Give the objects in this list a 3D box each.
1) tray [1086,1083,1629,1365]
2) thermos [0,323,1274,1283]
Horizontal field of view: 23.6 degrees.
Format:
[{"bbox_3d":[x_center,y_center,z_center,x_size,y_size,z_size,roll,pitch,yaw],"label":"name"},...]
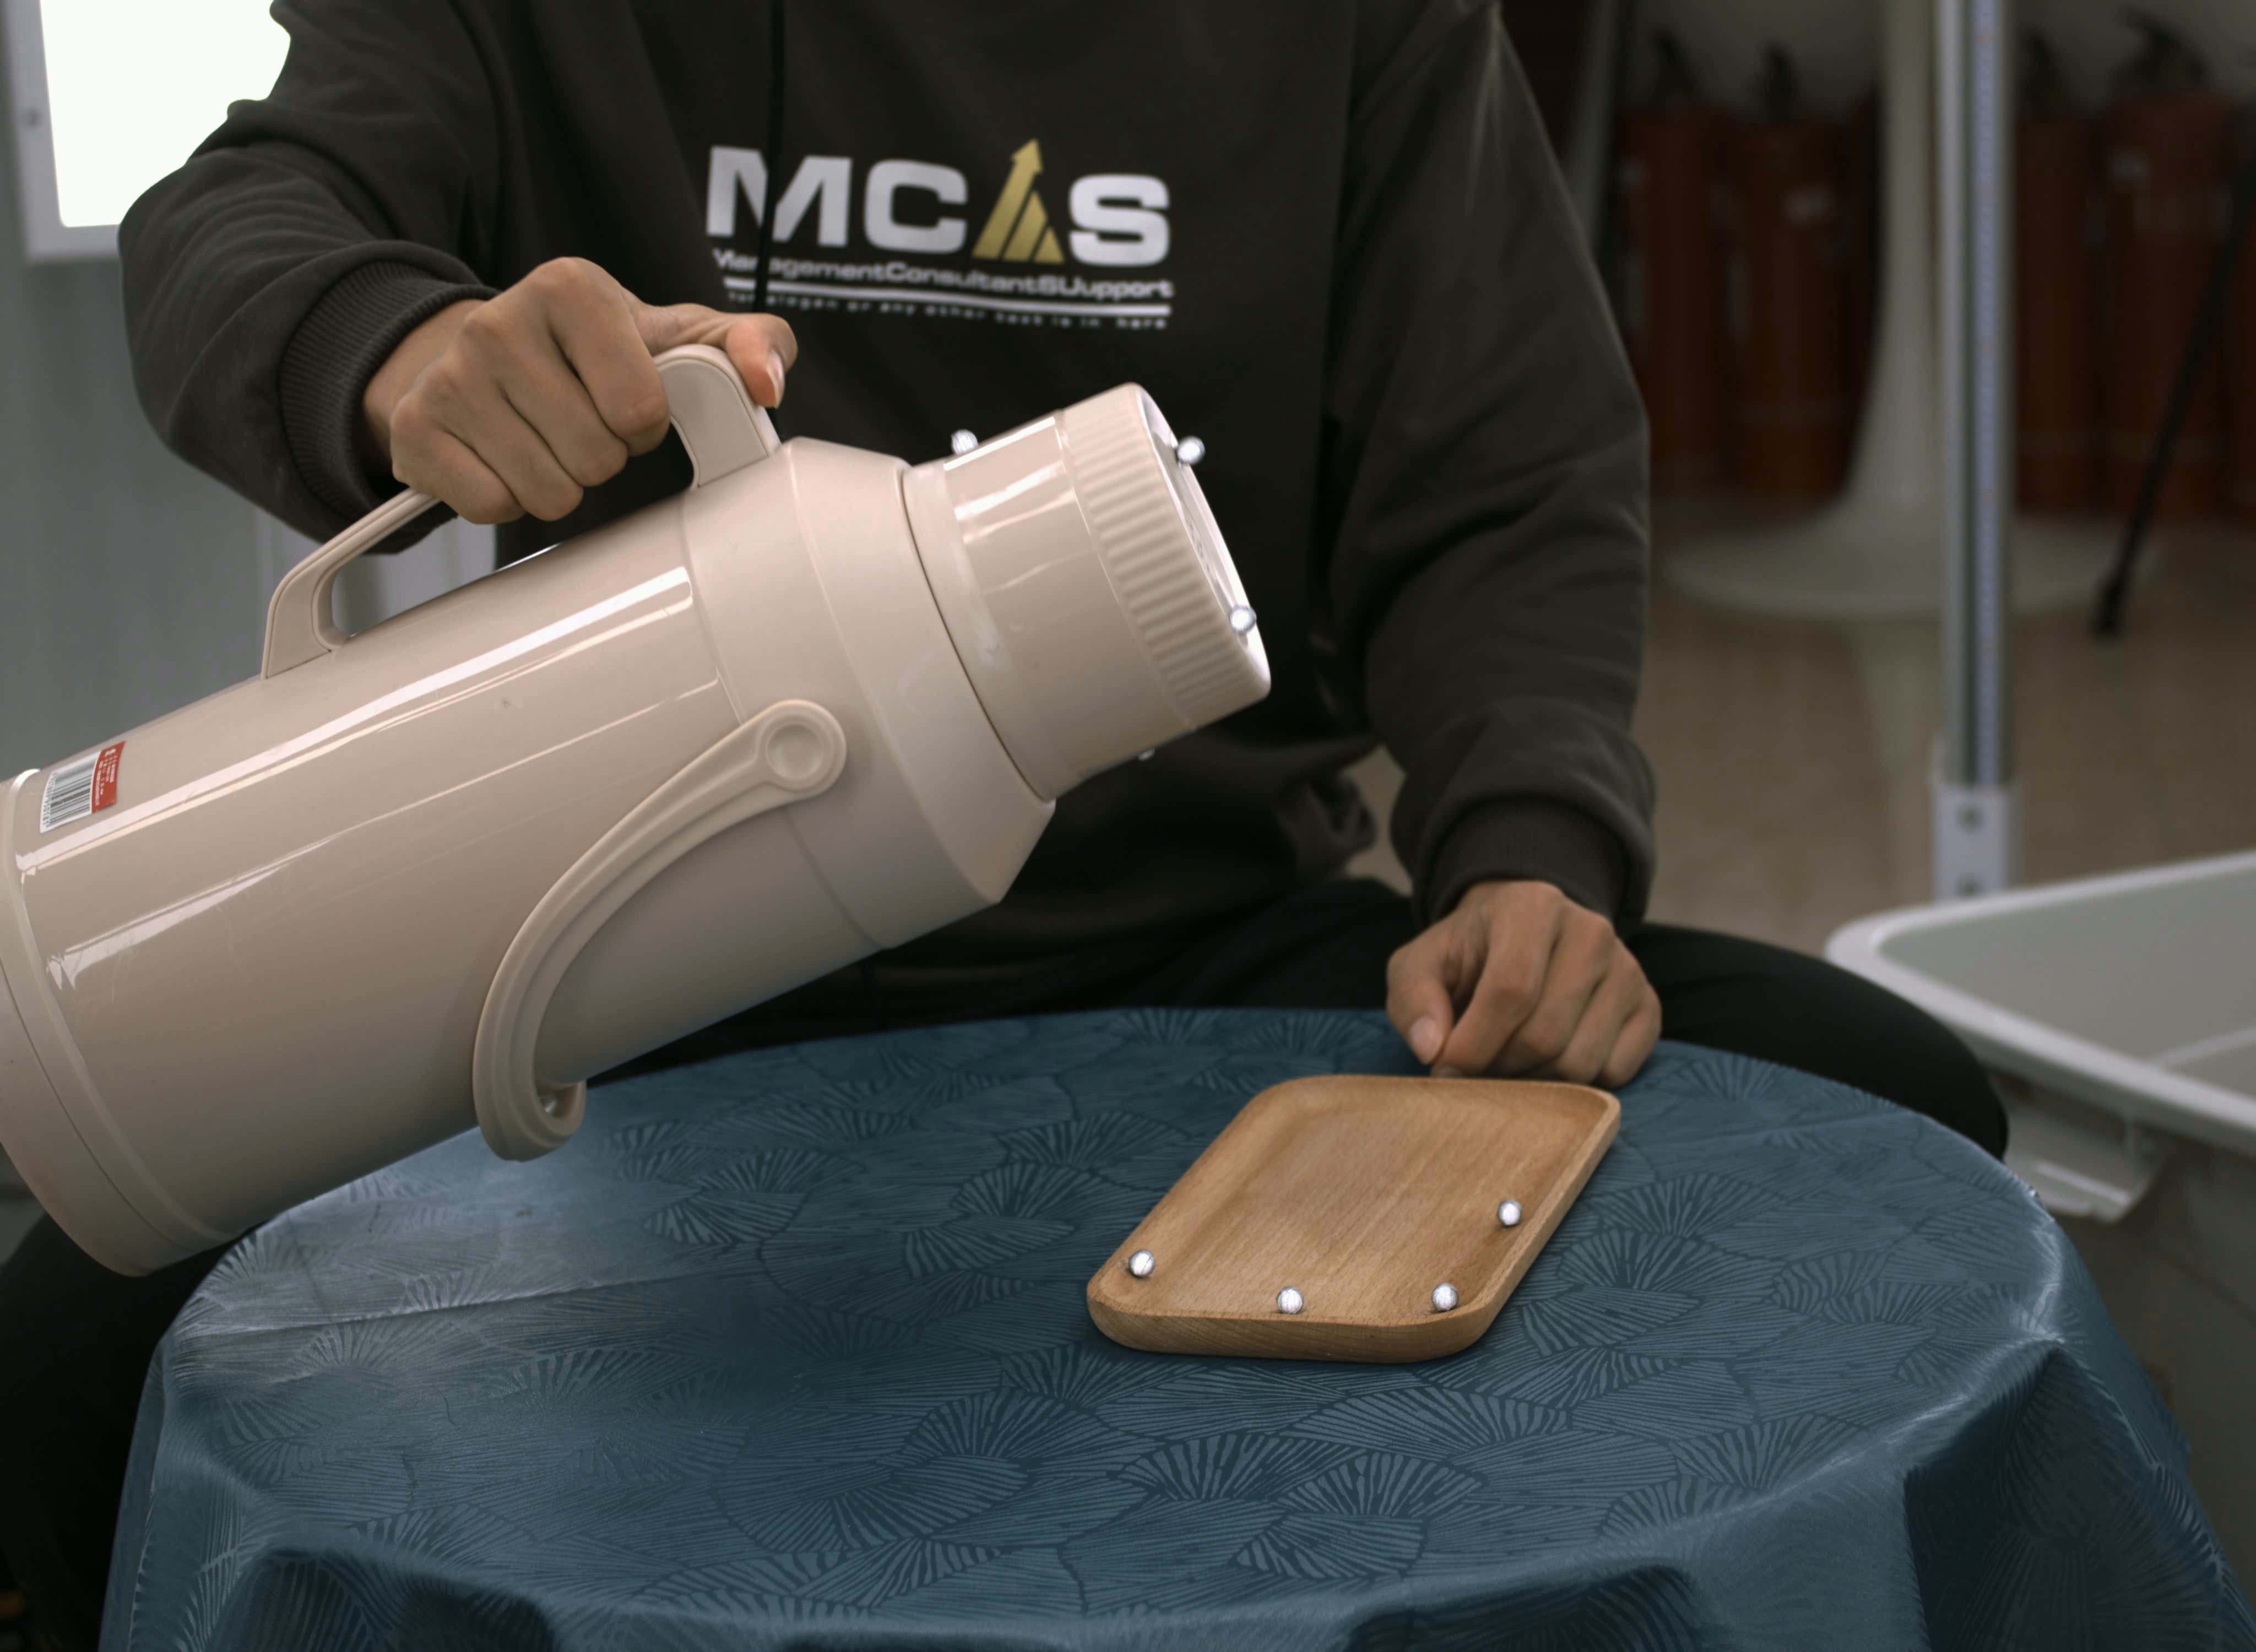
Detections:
[{"bbox_3d":[0.077,0.124,1.713,0.130,0.023,0.248,3,14,18],"label":"tray"},{"bbox_3d":[-0.162,-0.025,1.659,0.404,0.208,0.175,-24,8,9],"label":"thermos"}]
